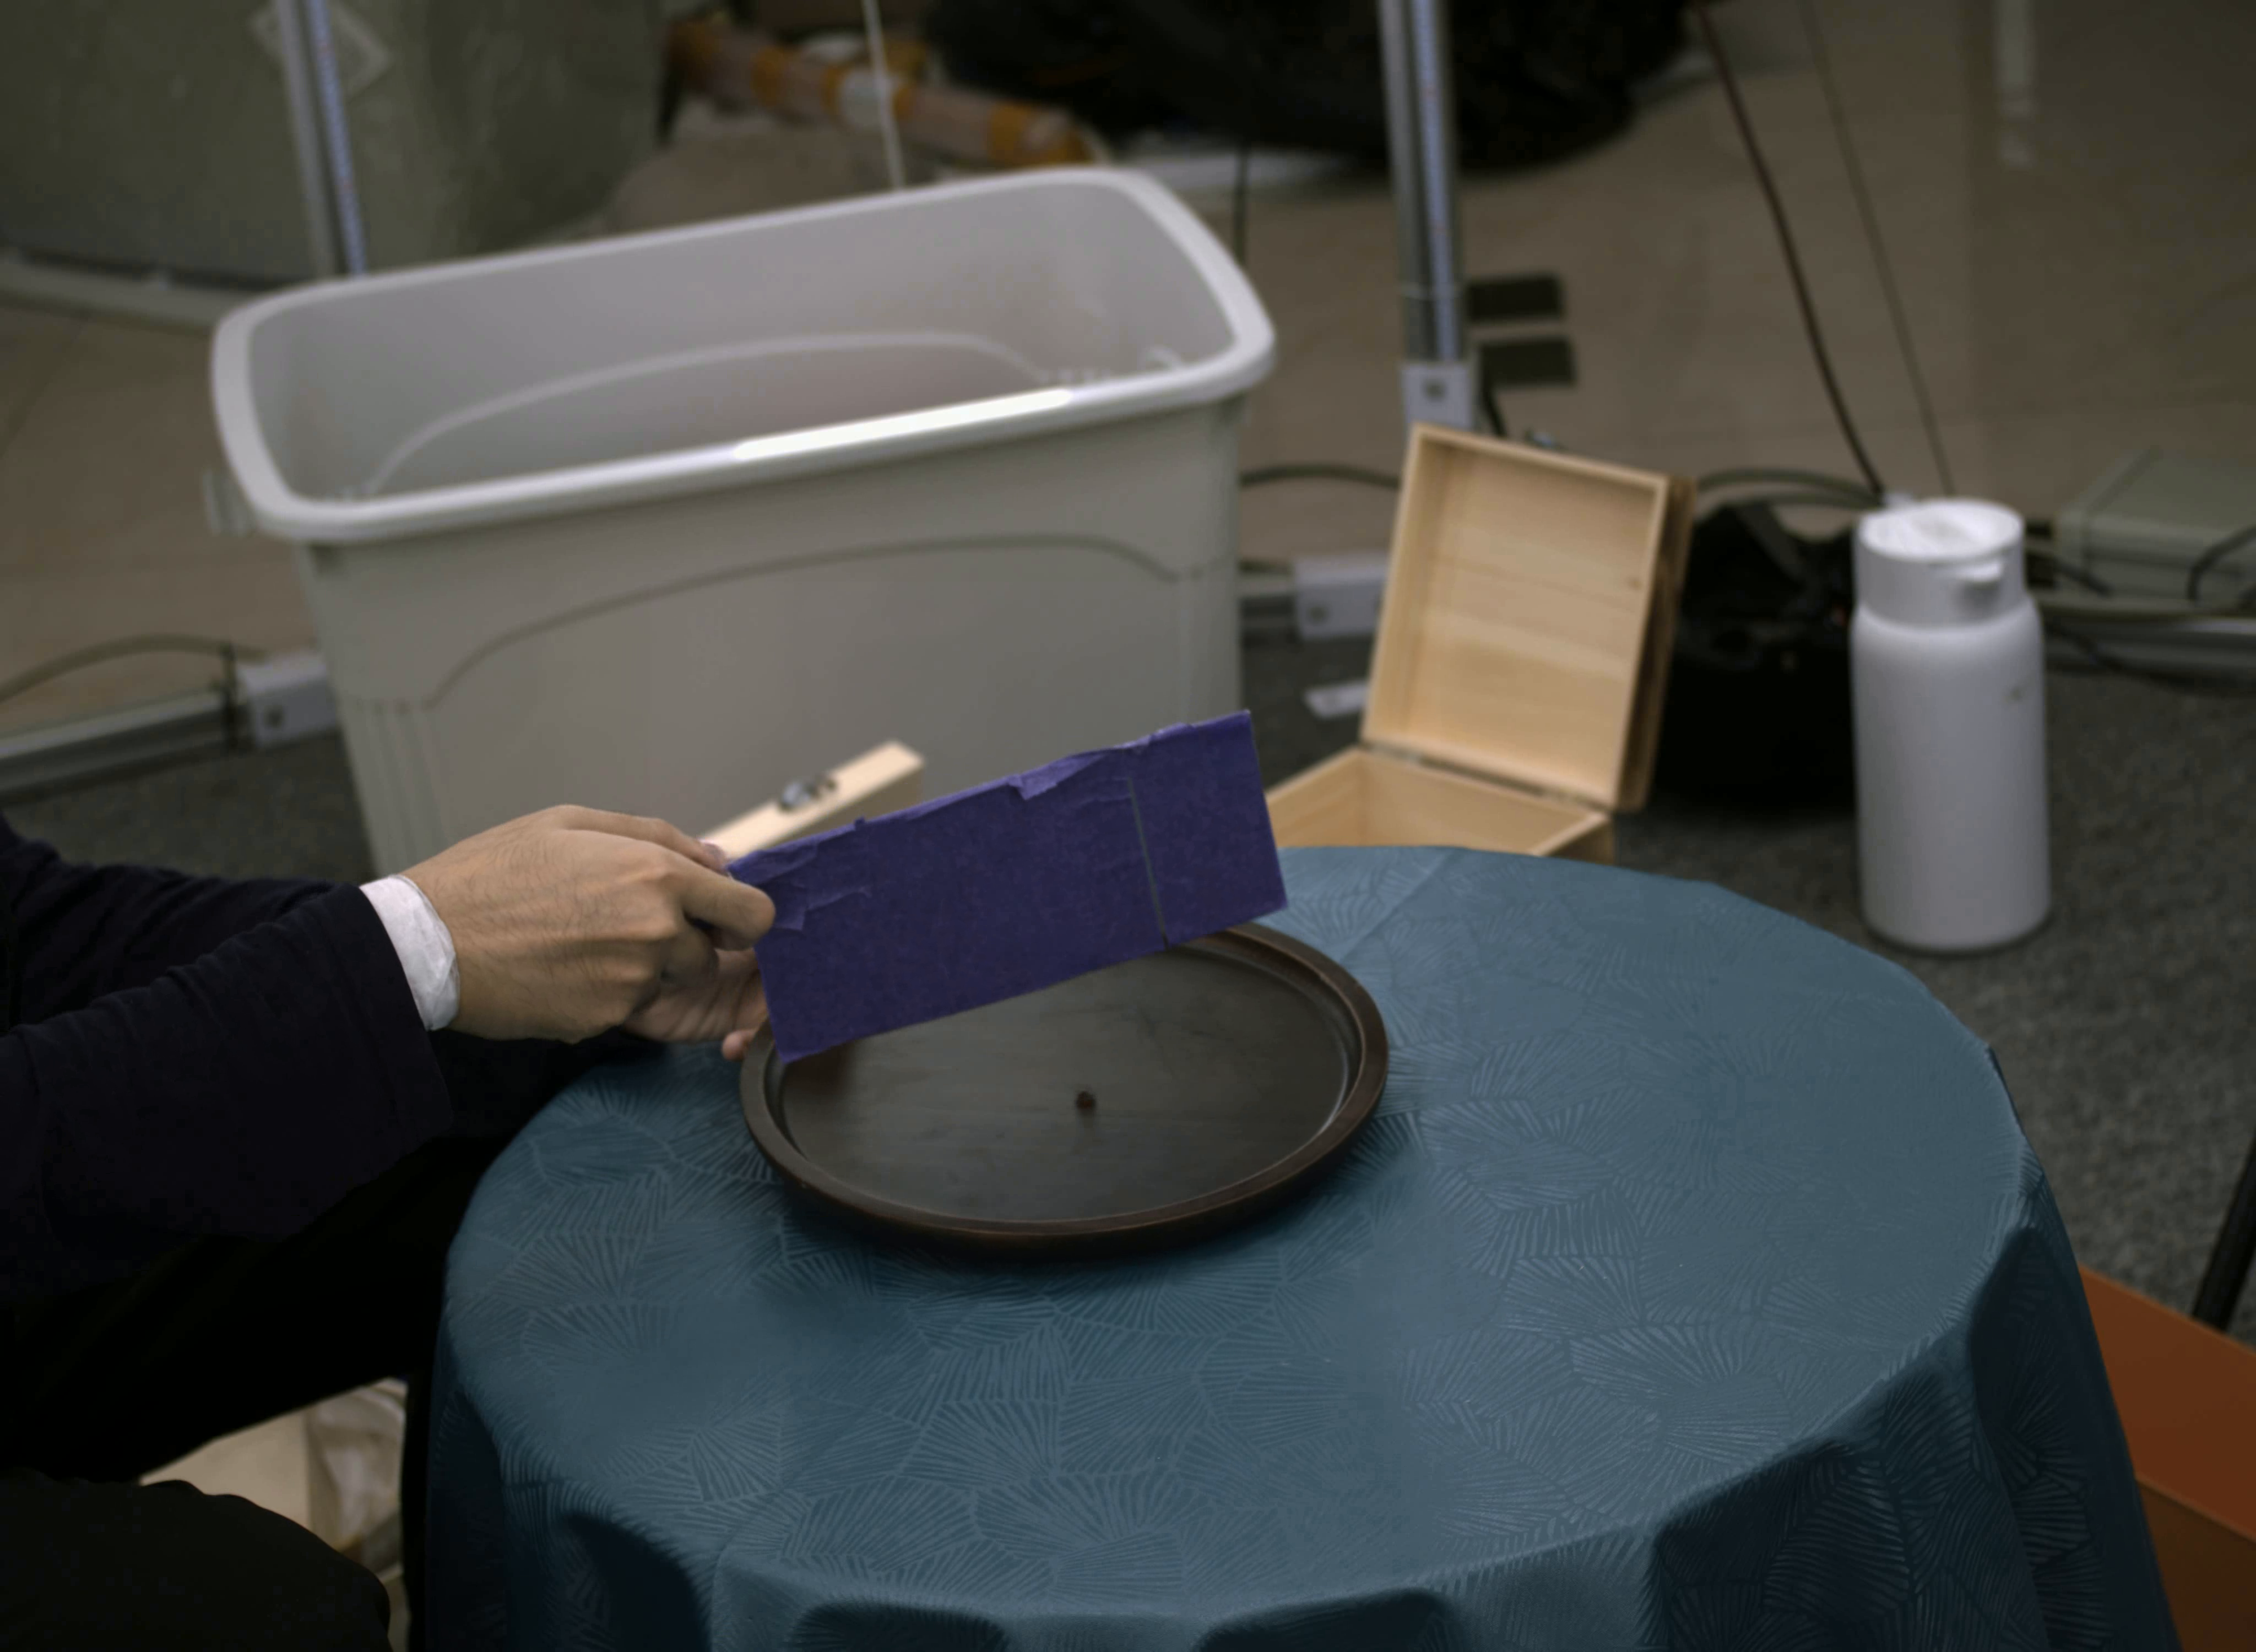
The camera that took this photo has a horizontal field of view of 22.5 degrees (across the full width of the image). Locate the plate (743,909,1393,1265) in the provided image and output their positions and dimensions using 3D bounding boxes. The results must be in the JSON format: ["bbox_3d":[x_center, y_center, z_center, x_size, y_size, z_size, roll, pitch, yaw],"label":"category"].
[{"bbox_3d":[-0.023,0.098,2.195,0.254,0.029,0.251,-2,28,1],"label":"plate"}]

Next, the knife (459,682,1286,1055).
[{"bbox_3d":[-0.090,0.035,2.129,0.314,0.105,0.032,-16,29,-9],"label":"knife"}]
